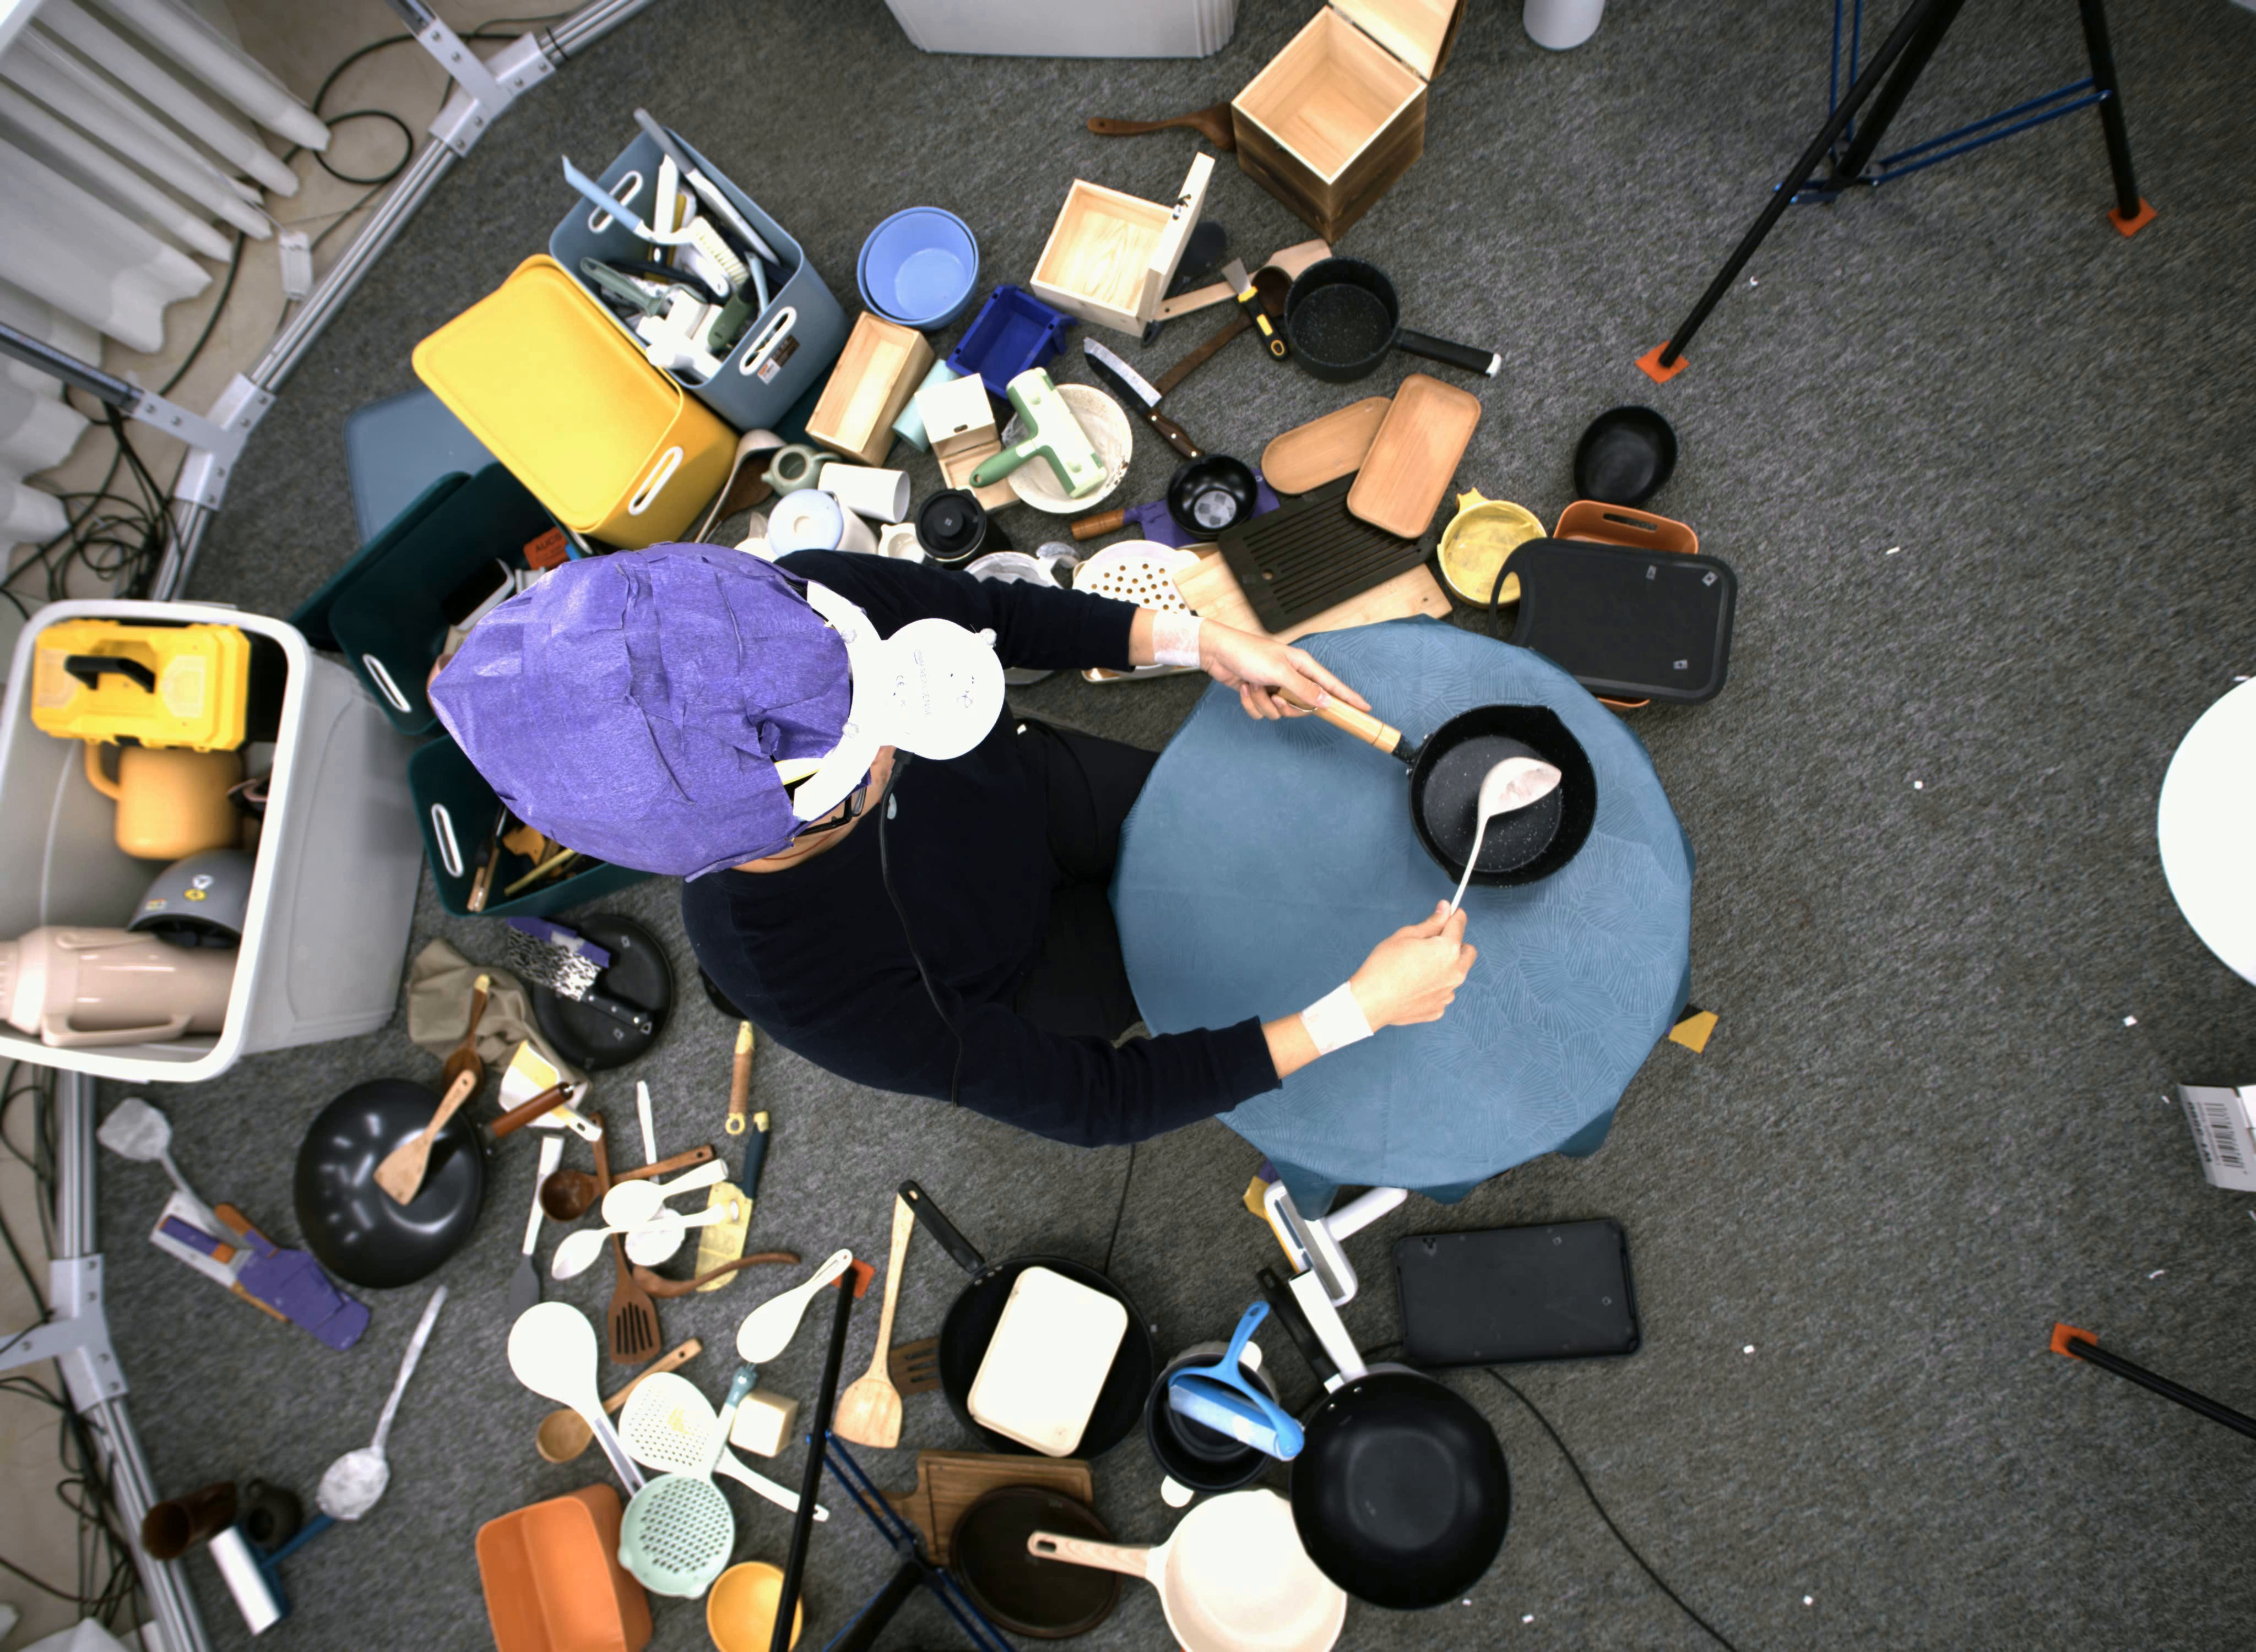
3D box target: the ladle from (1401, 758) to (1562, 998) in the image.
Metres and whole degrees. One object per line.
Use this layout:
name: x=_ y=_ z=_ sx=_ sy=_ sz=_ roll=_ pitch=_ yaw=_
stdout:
ladle: x=0.338 y=0.053 z=1.307 sx=0.069 sy=0.091 sz=0.270 roll=24 pitch=71 yaw=6

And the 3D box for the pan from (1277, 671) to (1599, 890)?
pan: x=0.305 y=-0.064 z=1.399 sx=0.342 sy=0.108 sz=0.208 roll=26 pitch=92 yaw=6
